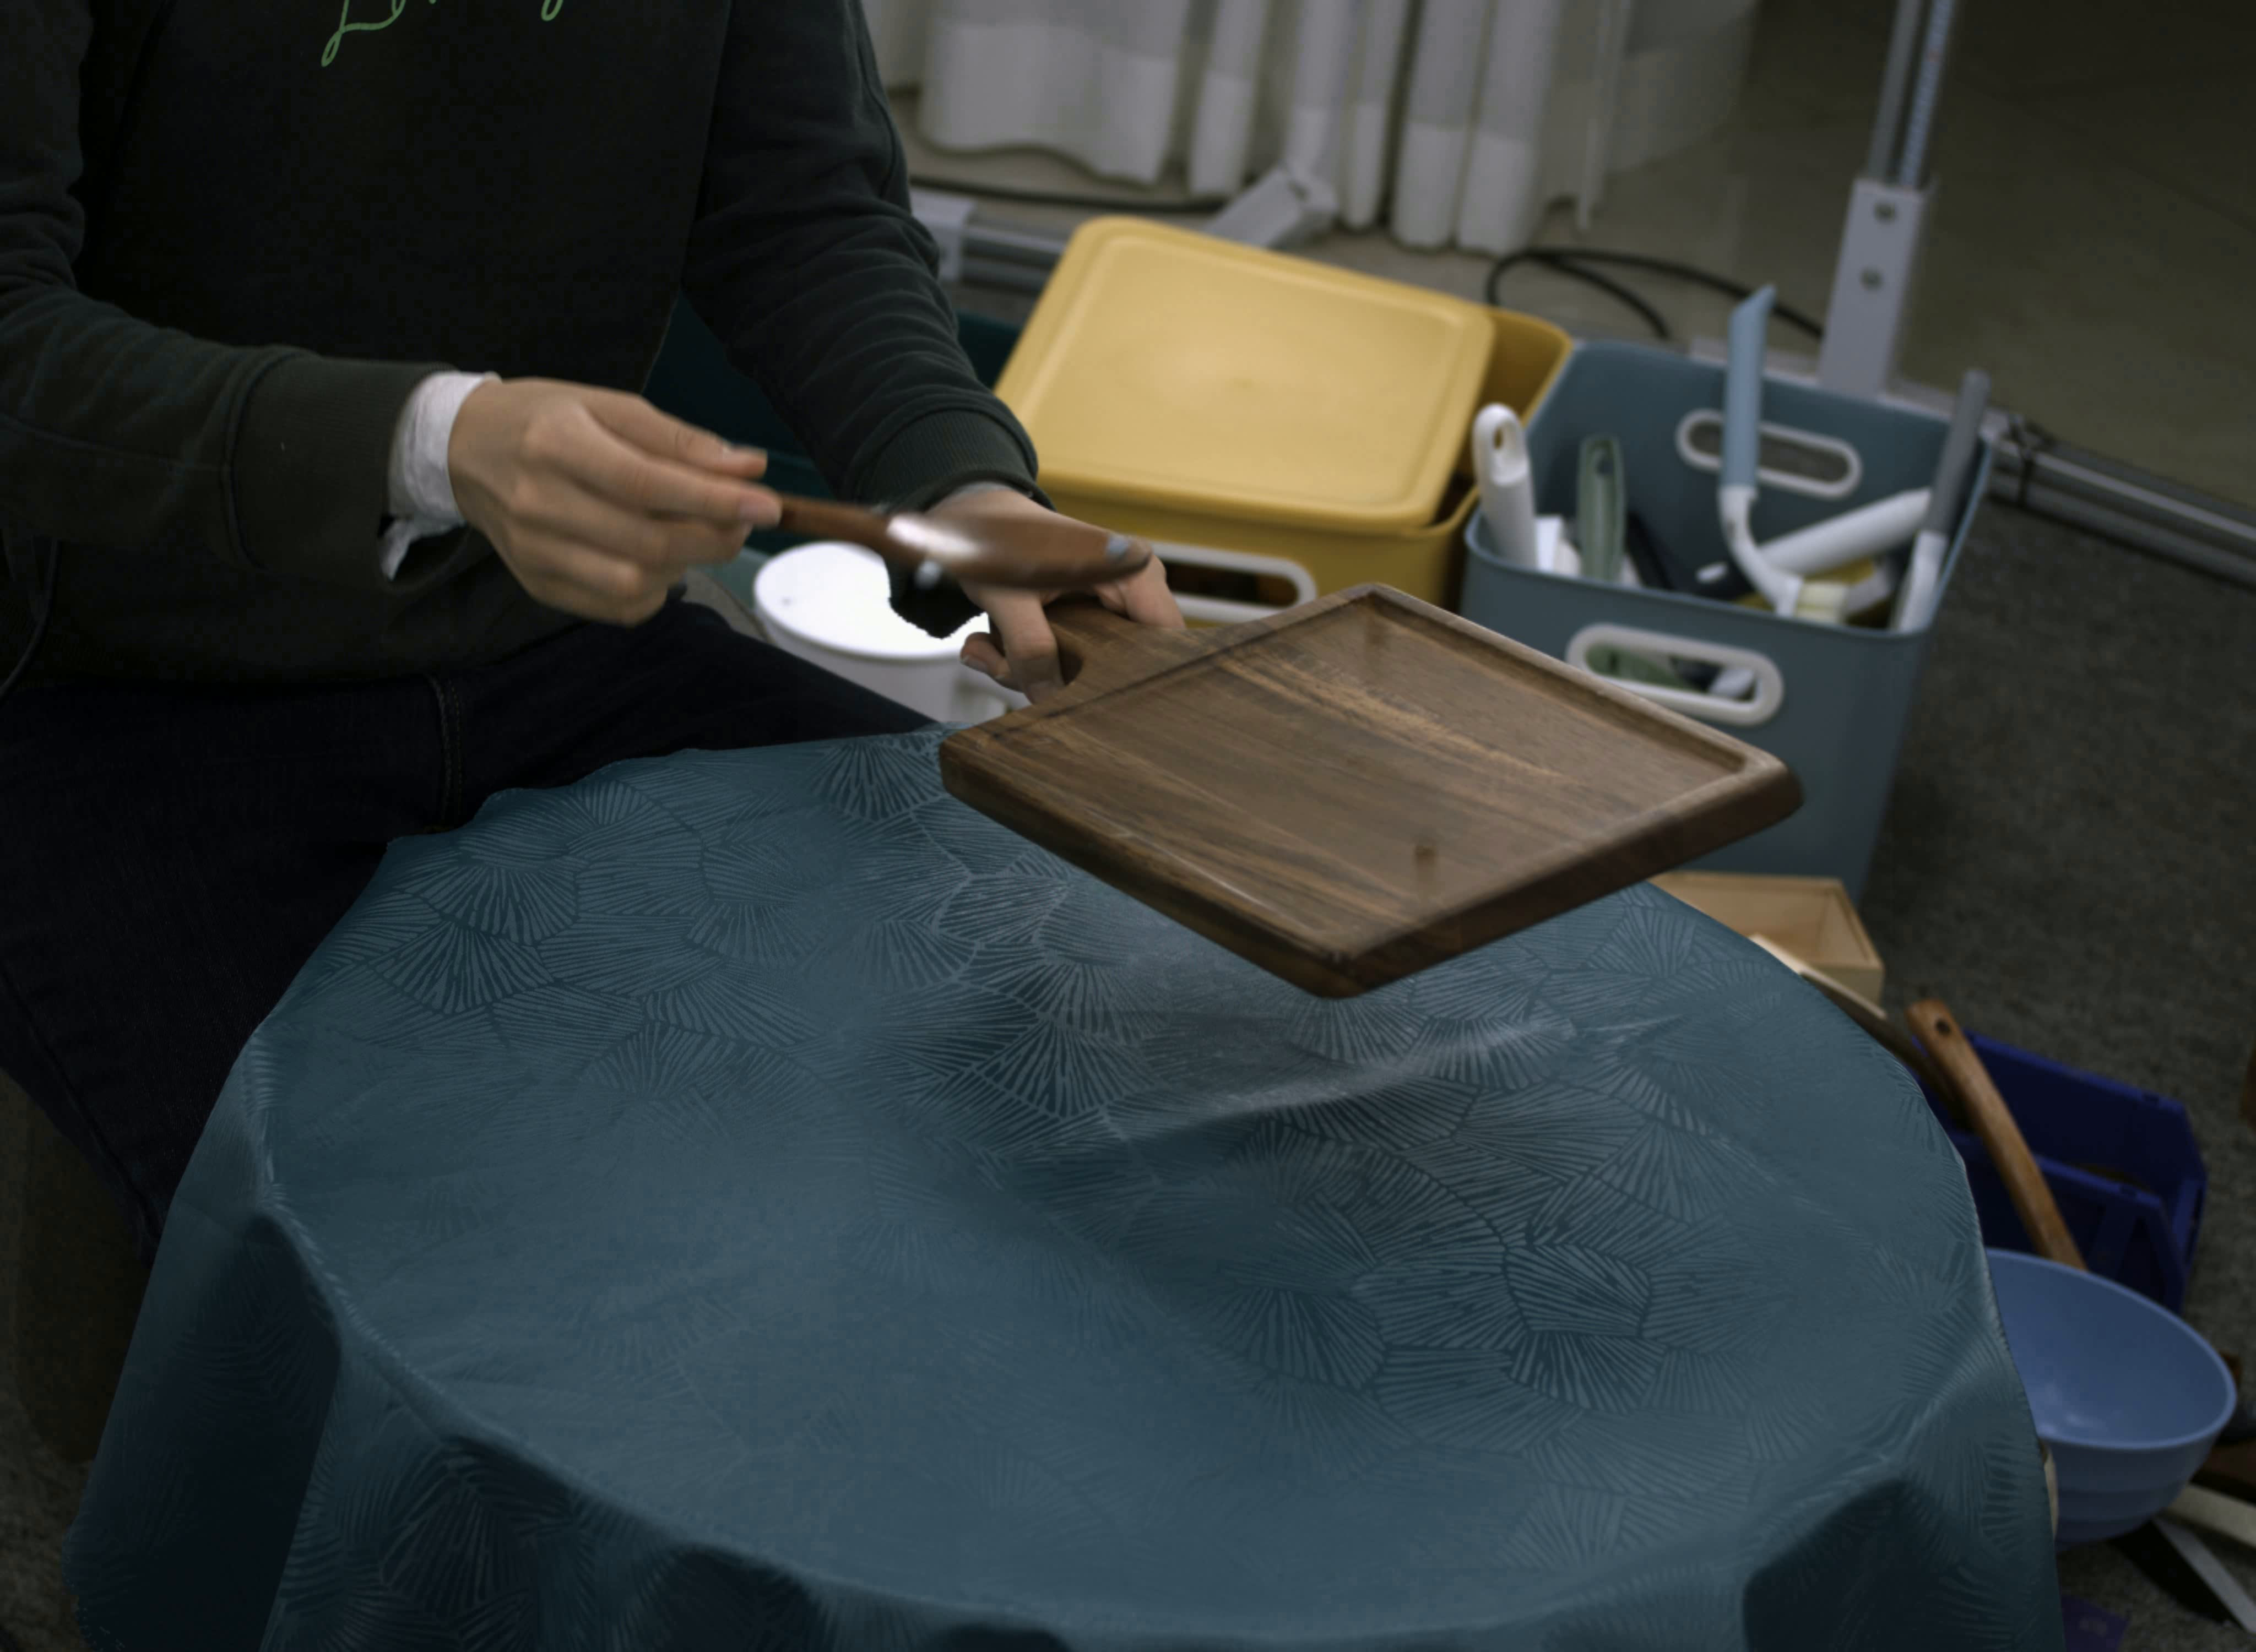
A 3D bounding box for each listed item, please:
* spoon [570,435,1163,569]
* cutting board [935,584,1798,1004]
[{"bbox_3d":[-0.088,-0.105,1.734,0.217,0.017,0.075,11,17,26],"label":"spoon"},{"bbox_3d":[0.052,-0.030,1.871,0.200,0.023,0.355,-22,27,-26],"label":"cutting board"}]
